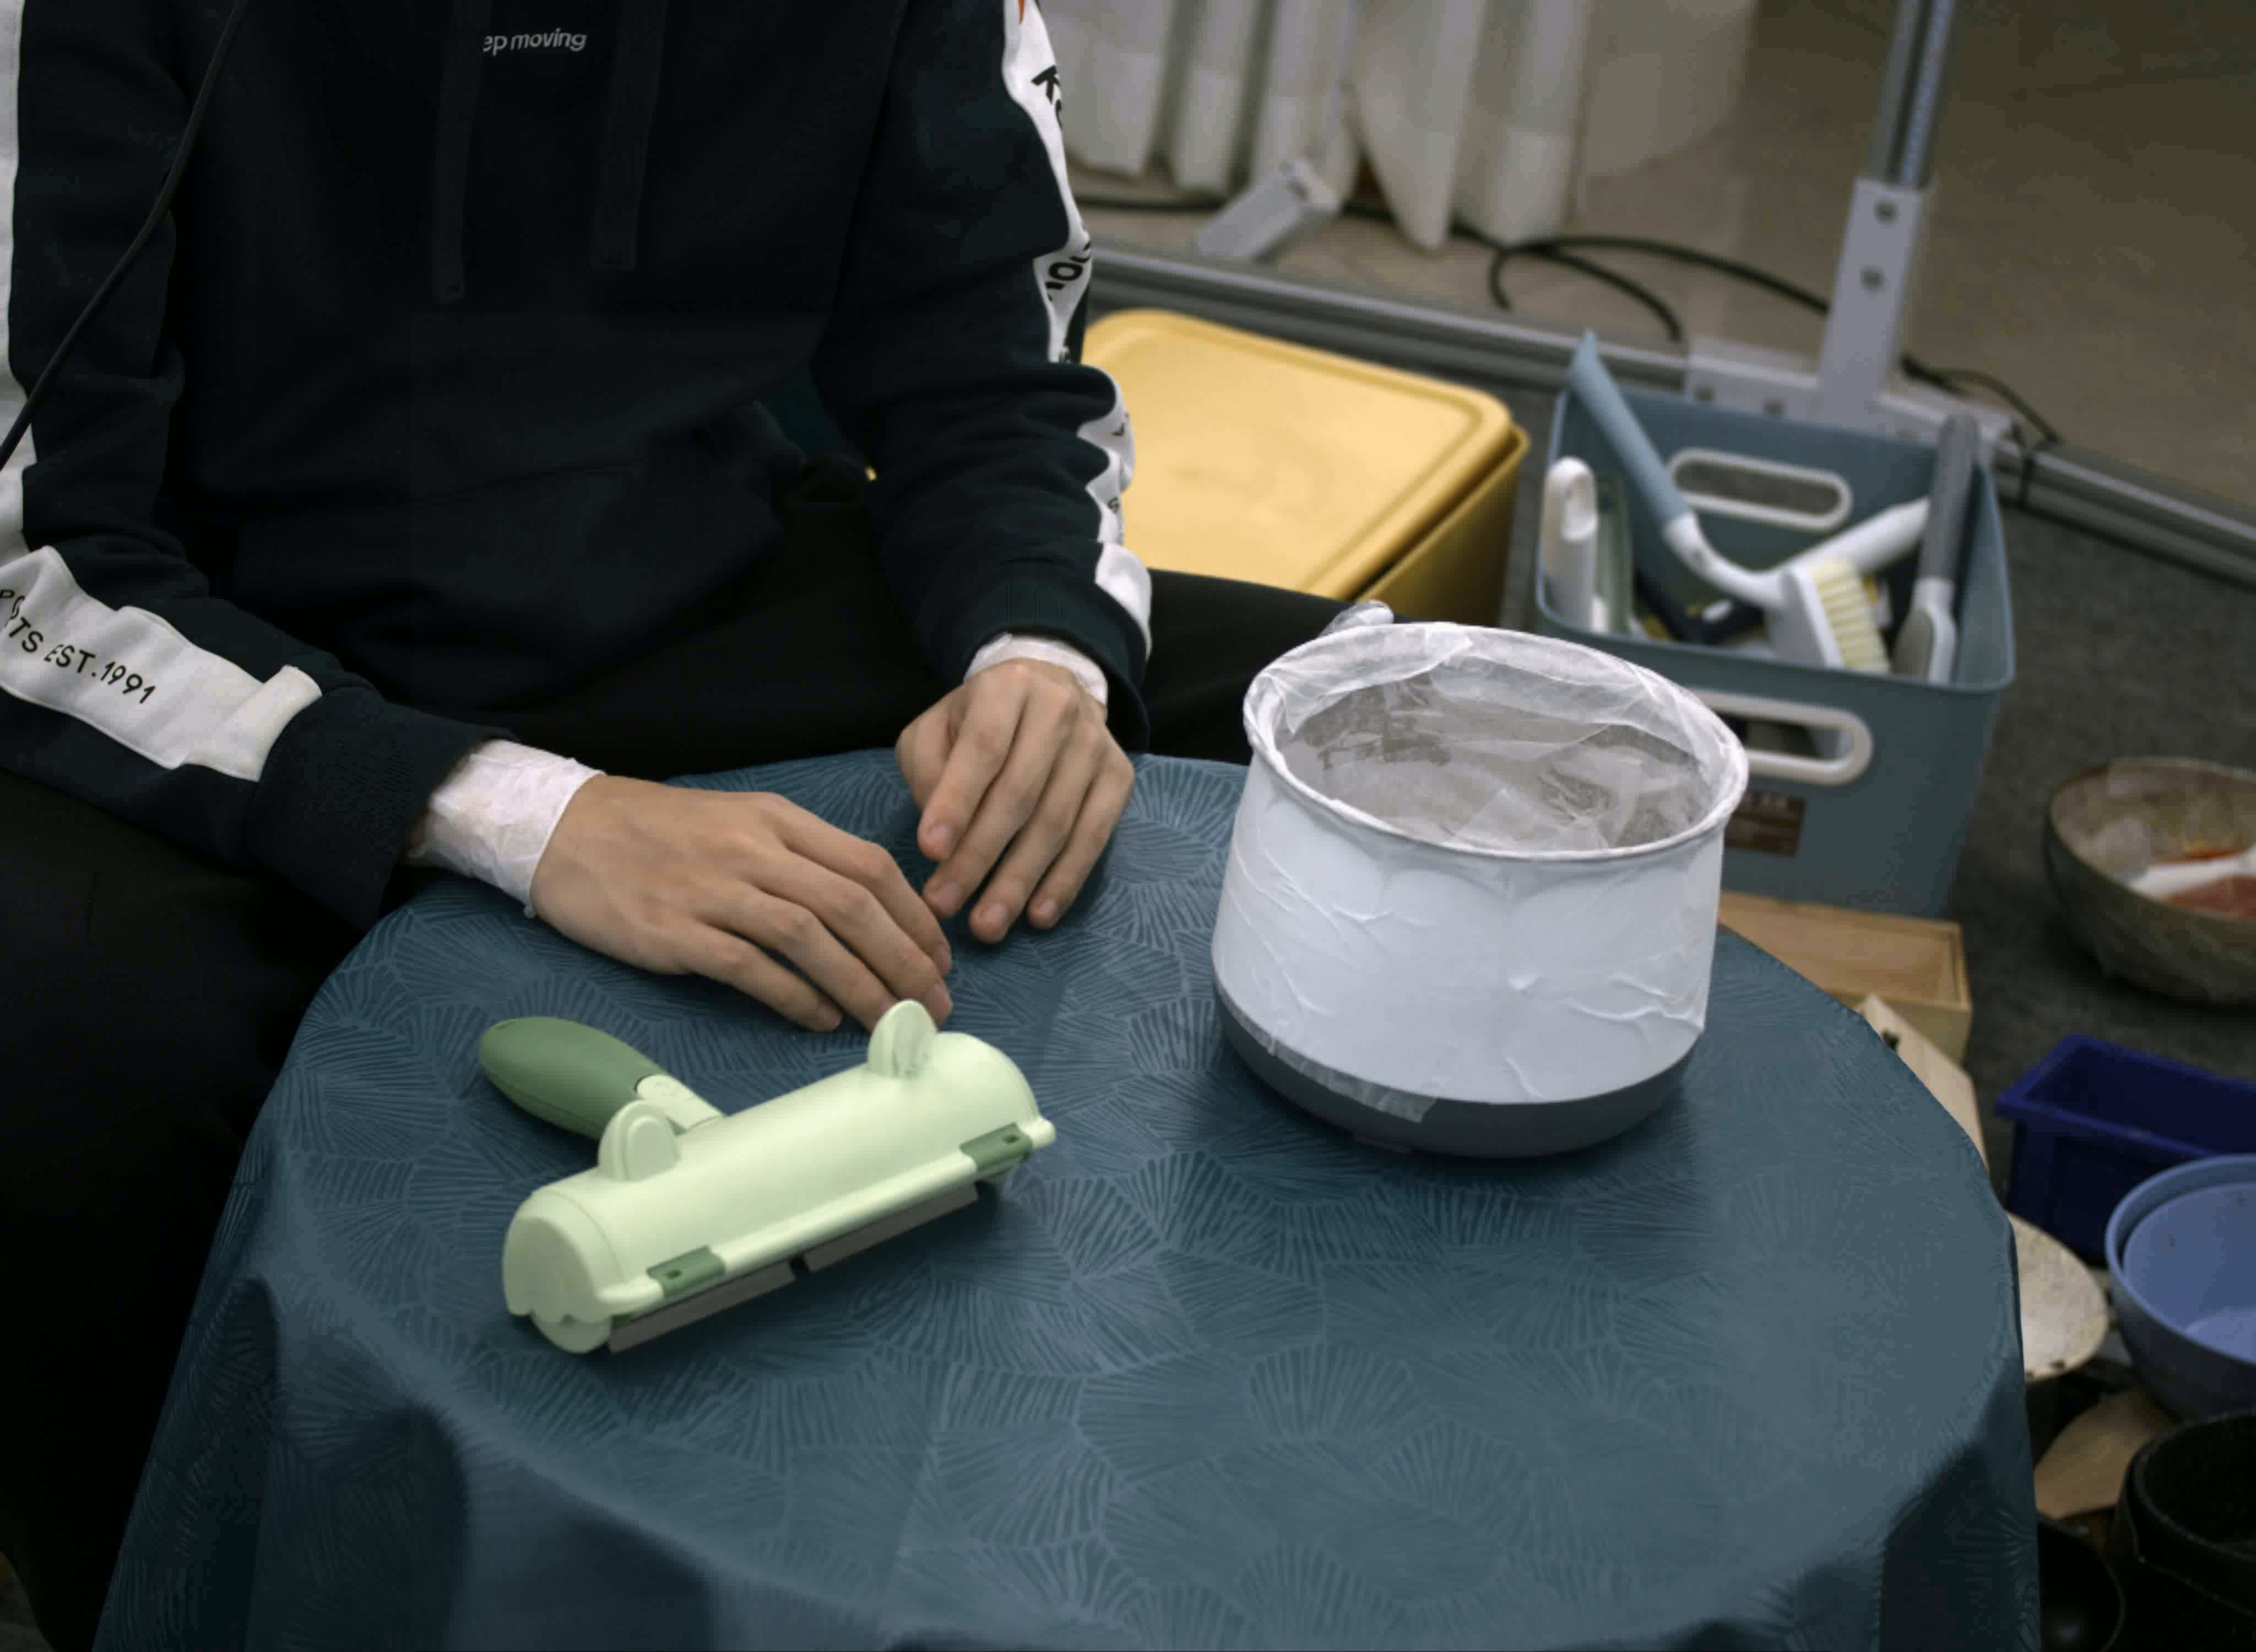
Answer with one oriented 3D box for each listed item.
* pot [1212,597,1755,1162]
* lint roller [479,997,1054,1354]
[{"bbox_3d":[0.110,0.012,1.891,0.177,0.136,0.236,-5,30,-24],"label":"pot"},{"bbox_3d":[-0.152,0.086,1.756,0.197,0.082,0.185,-20,42,-41],"label":"lint roller"}]
